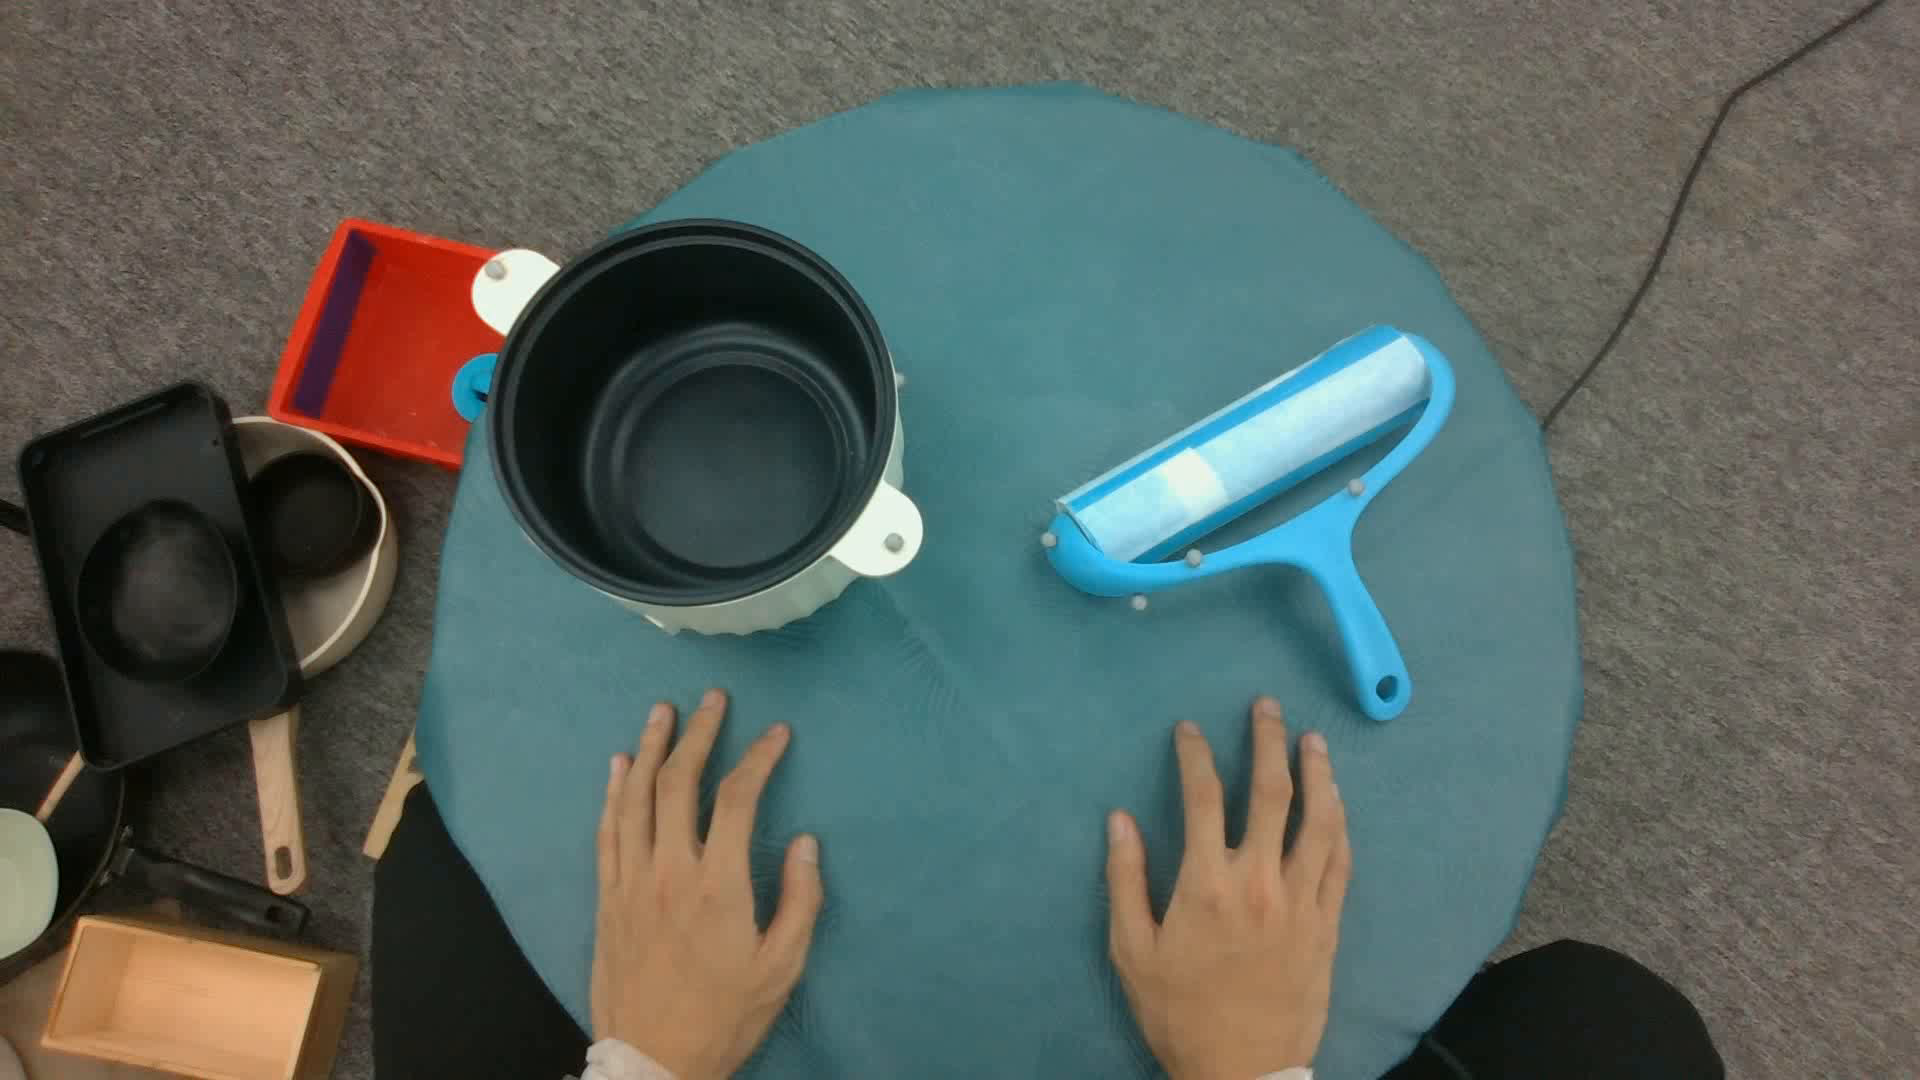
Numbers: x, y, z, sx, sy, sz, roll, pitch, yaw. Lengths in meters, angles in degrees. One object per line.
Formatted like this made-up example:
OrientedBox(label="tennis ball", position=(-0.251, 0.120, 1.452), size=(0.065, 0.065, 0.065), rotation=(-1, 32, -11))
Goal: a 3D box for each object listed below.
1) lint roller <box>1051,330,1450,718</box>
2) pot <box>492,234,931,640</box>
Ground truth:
OrientedBox(label="lint roller", position=(0.181, 0.007, 0.709), size=(0.229, 0.068, 0.180), rotation=(-31, 76, -7))
OrientedBox(label="pot", position=(-0.112, -0.046, 0.691), size=(0.240, 0.142, 0.191), rotation=(33, 83, 8))
